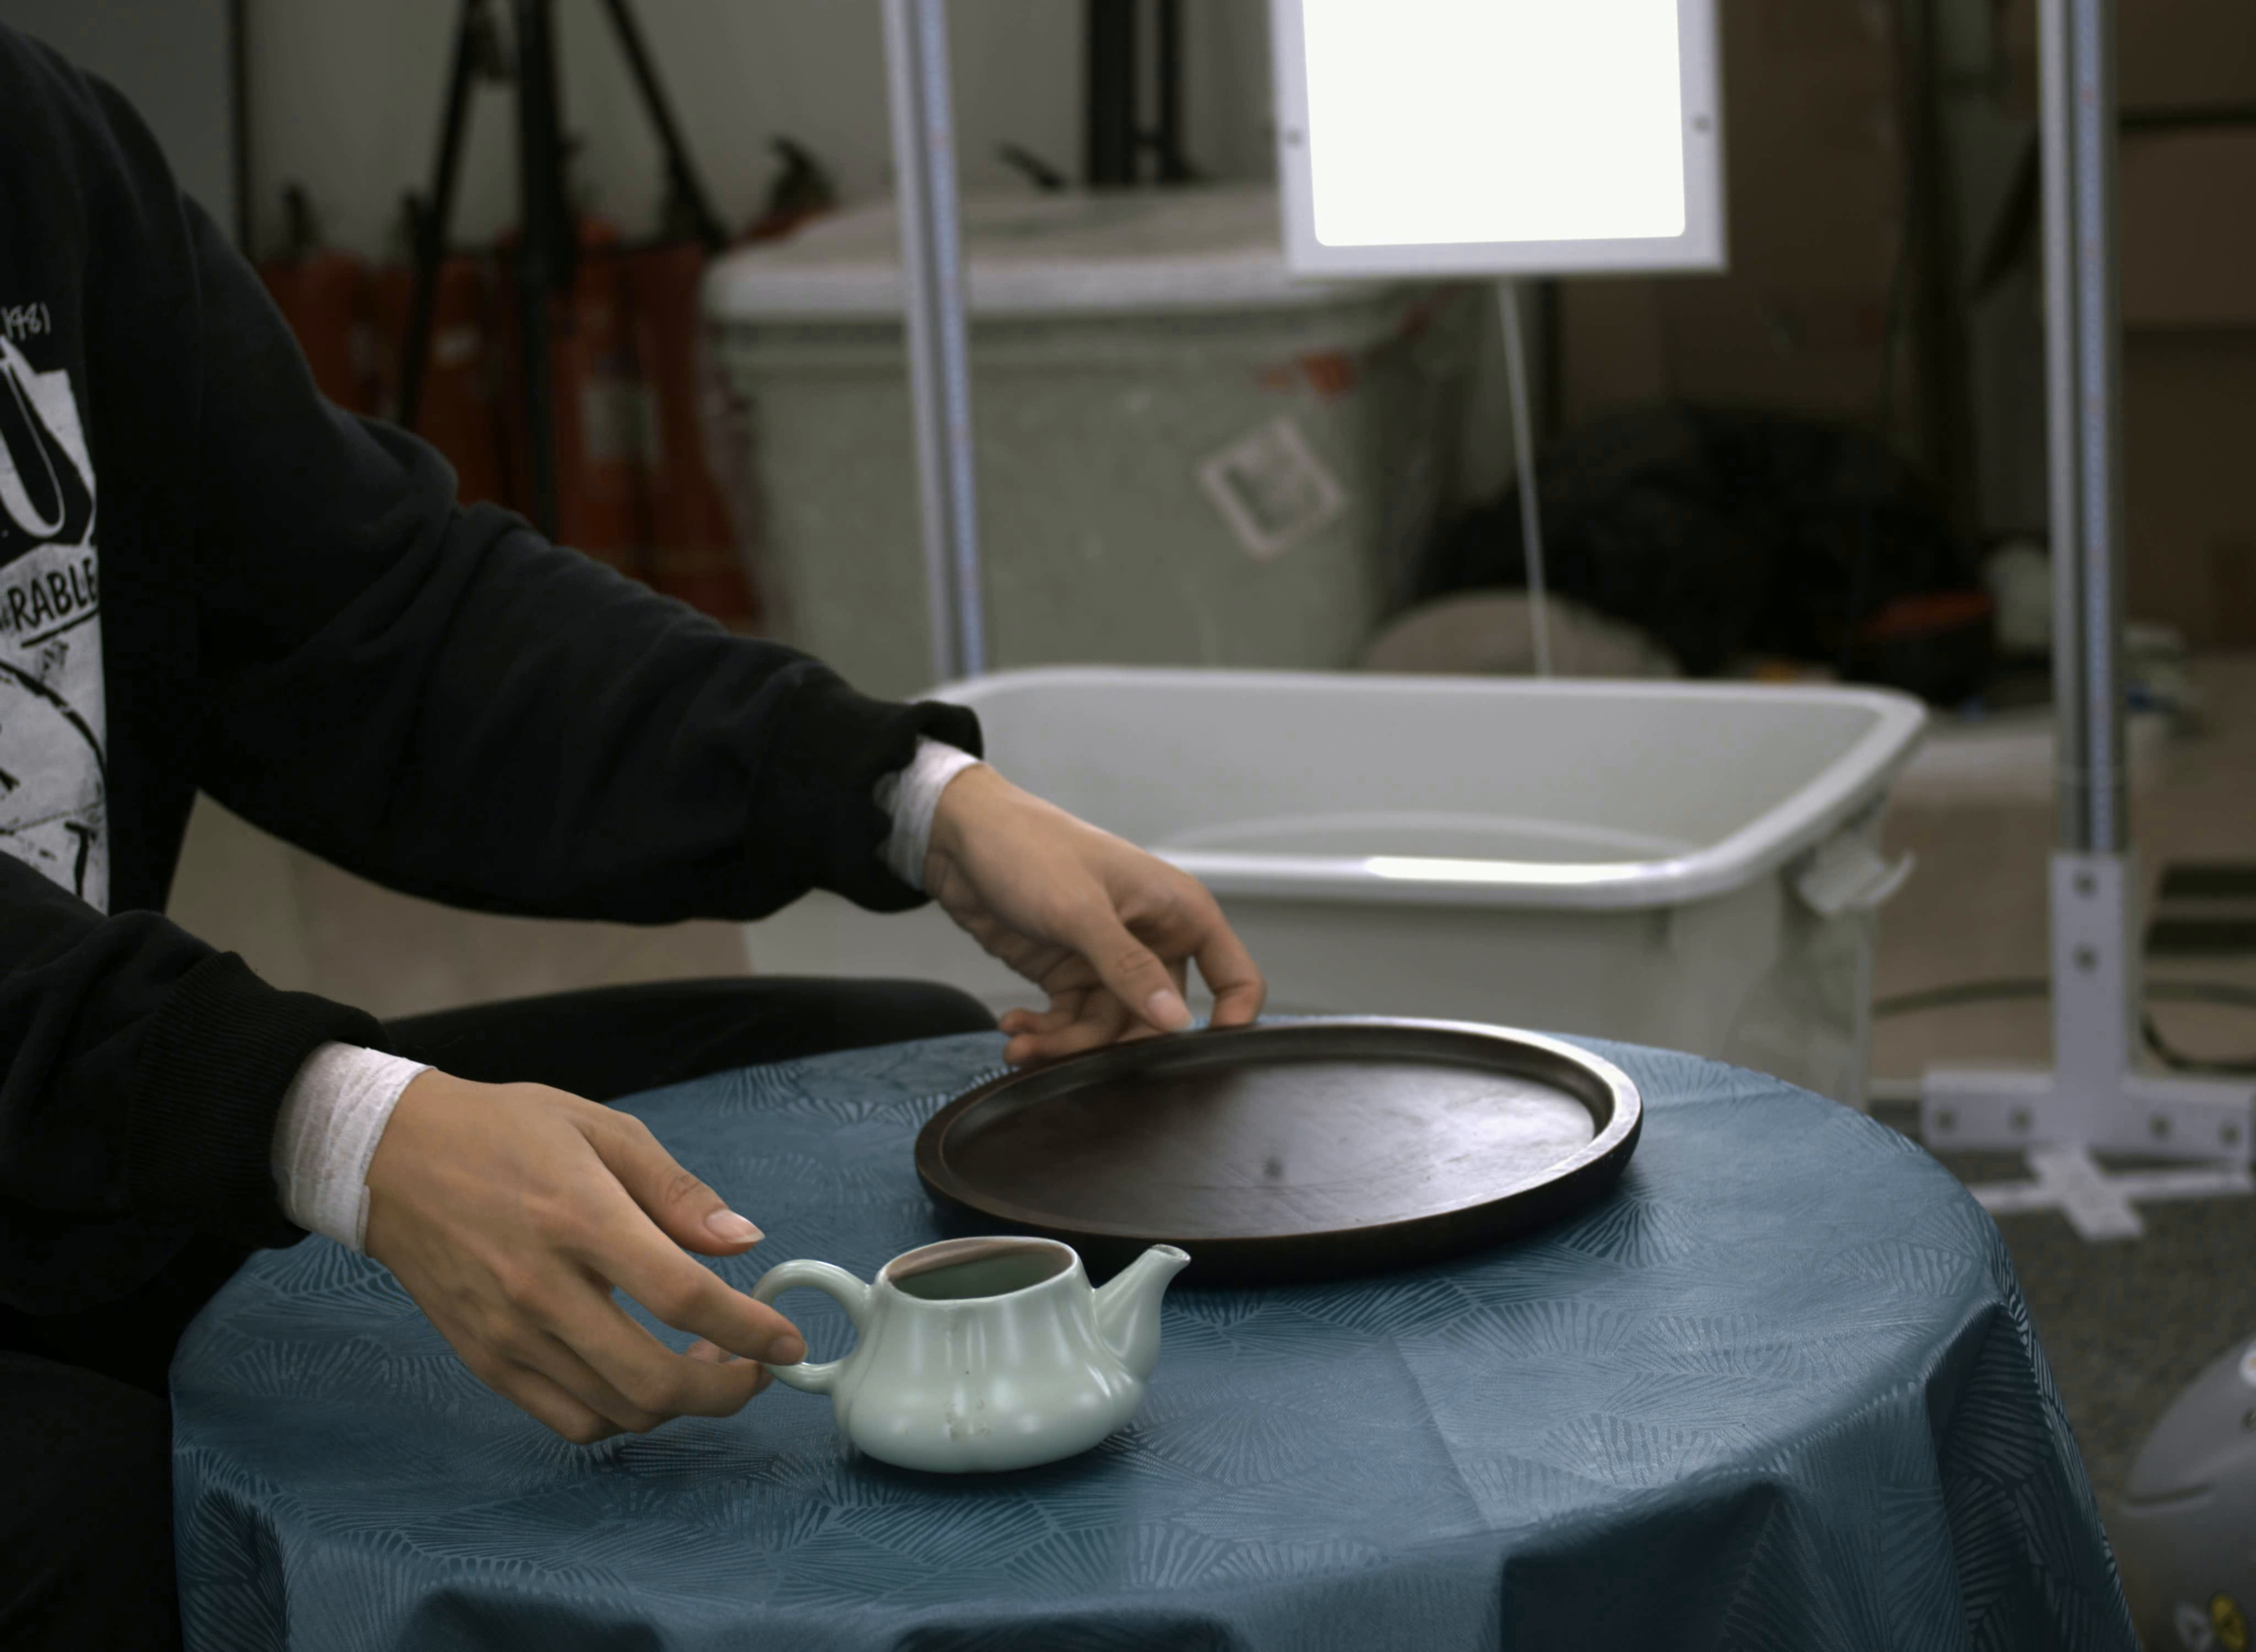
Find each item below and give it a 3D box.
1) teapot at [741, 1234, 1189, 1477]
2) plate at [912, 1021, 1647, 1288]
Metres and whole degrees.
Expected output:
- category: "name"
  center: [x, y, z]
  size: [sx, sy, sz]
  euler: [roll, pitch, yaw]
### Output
- category: "teapot"
  center: [-0.048, 0.159, 1.661]
  size: [0.137, 0.061, 0.095]
  euler: [-4, 15, 5]
- category: "plate"
  center: [0.053, 0.110, 1.895]
  size: [0.254, 0.029, 0.254]
  euler: [-5, 15, 0]
